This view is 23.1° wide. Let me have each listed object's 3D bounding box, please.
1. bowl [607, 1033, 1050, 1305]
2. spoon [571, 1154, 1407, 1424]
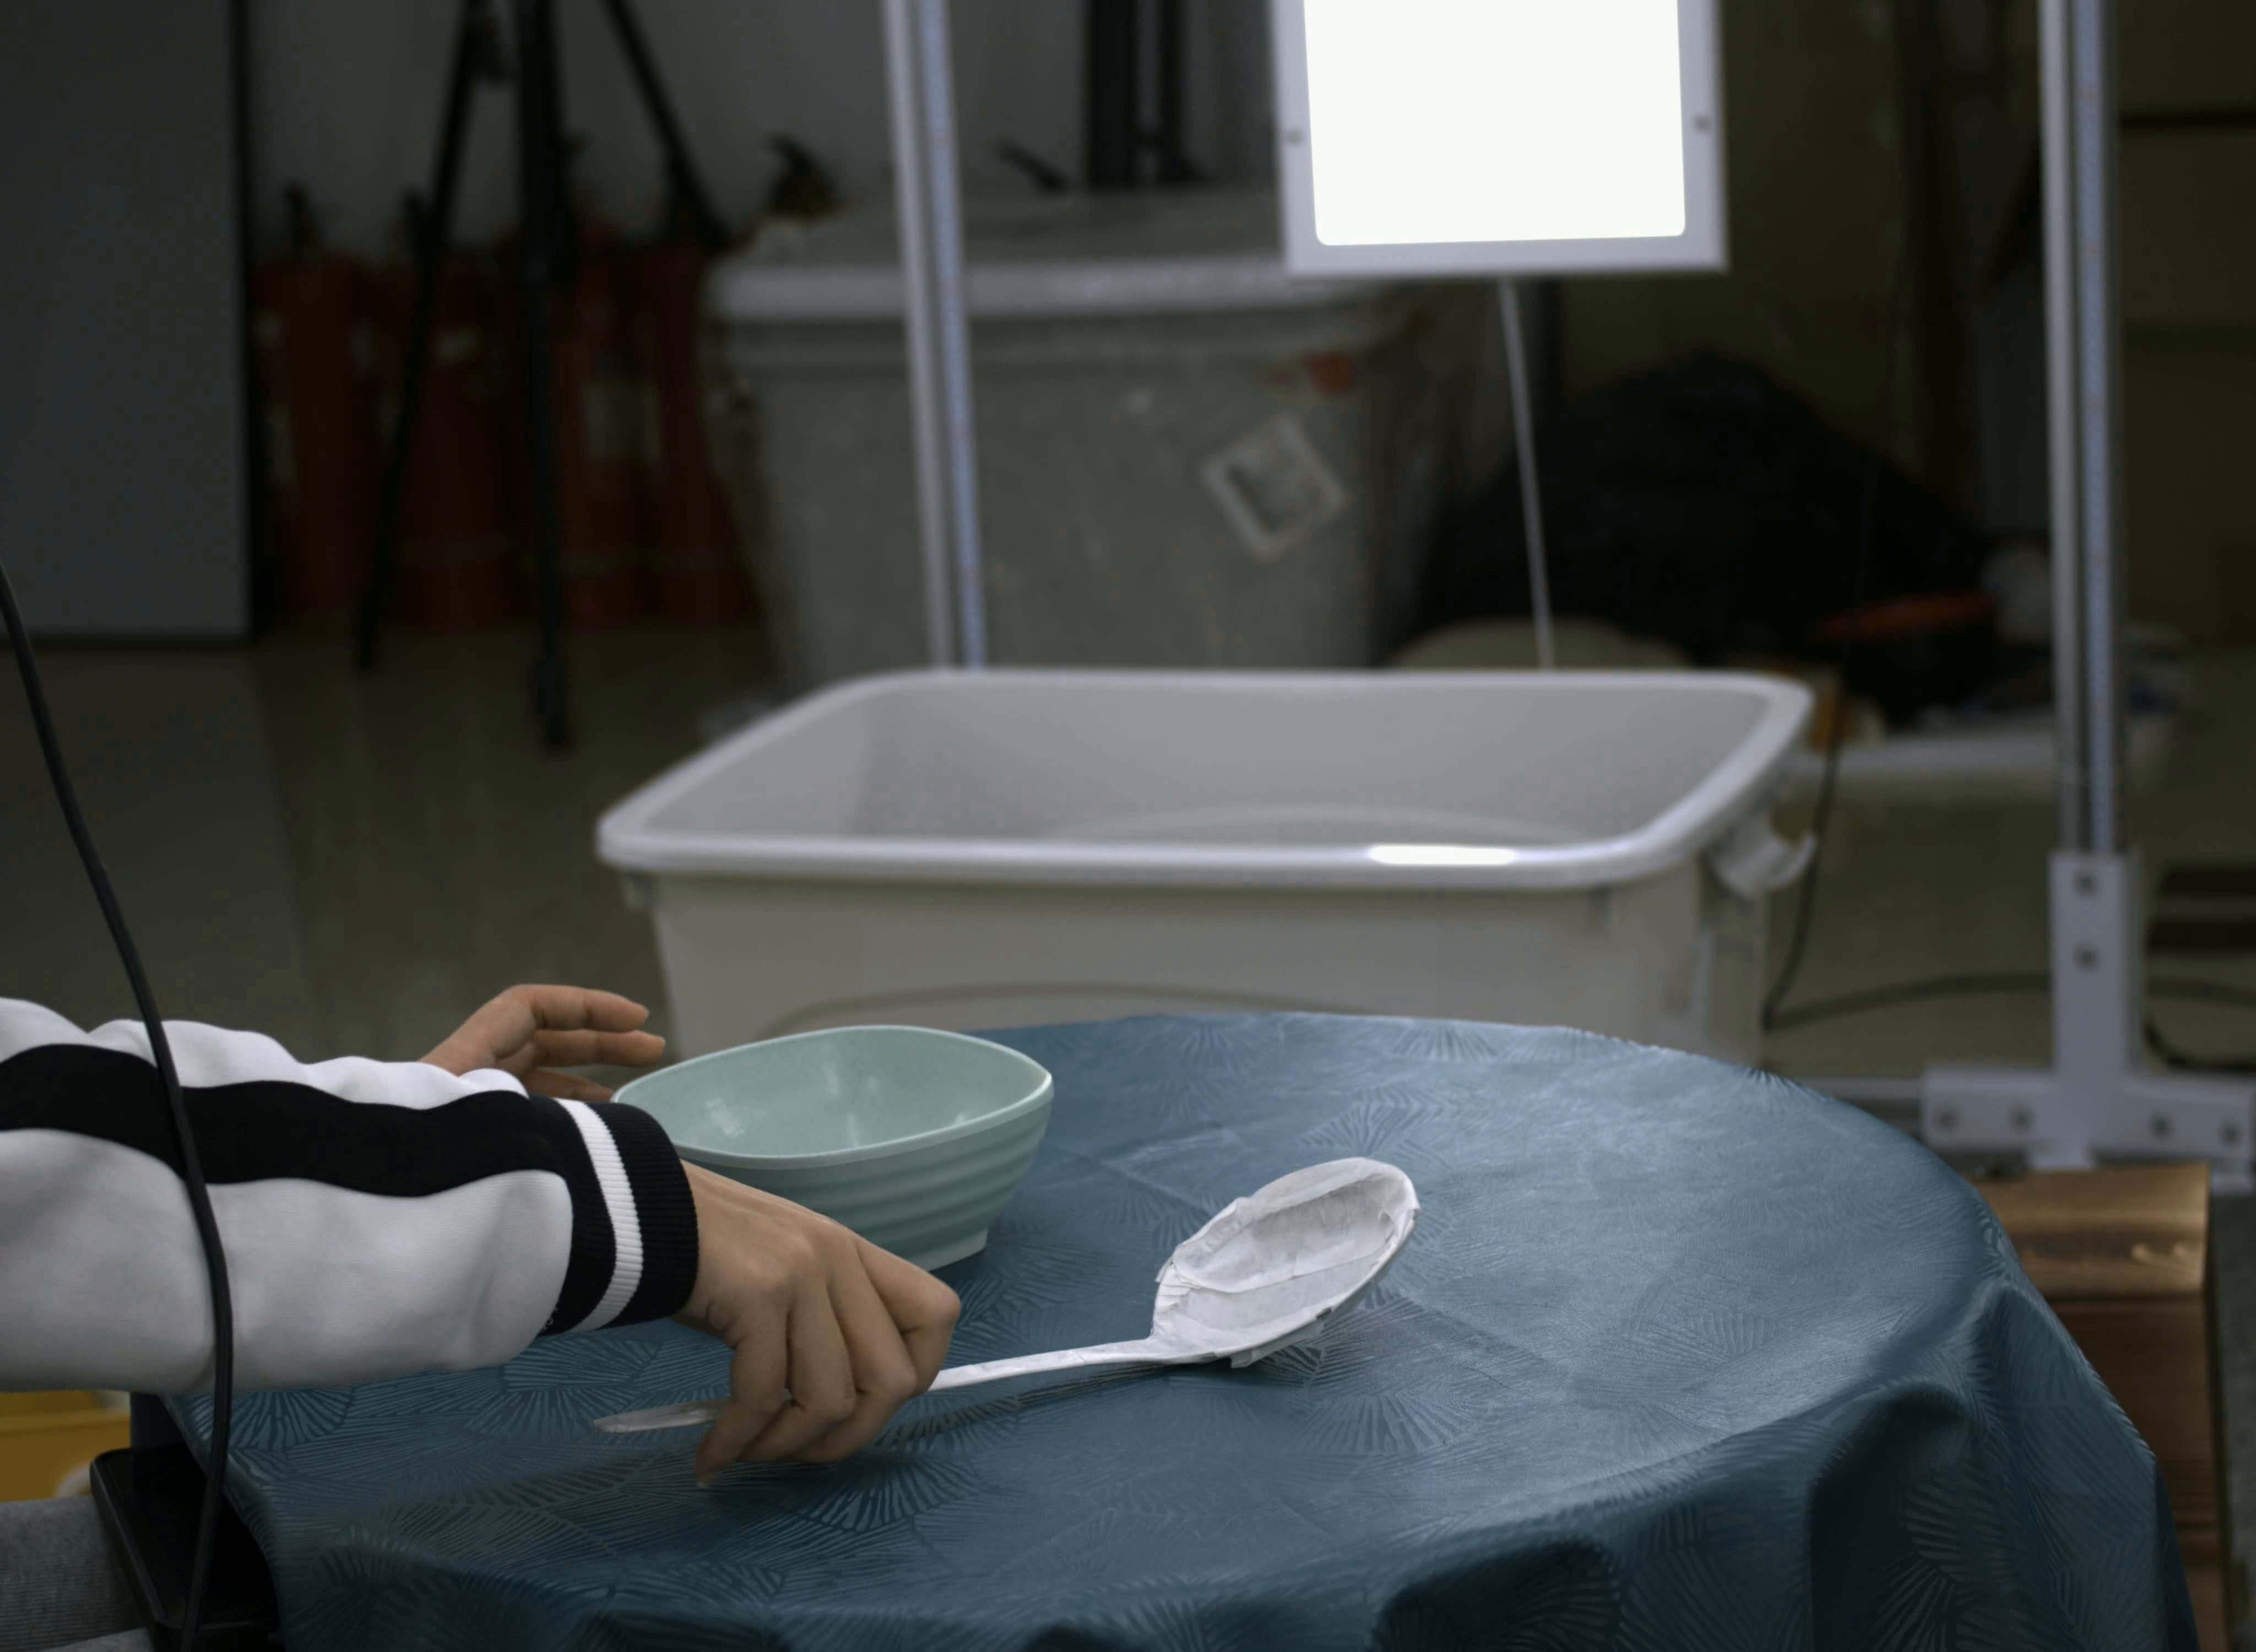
[{"bbox_3d":[-0.099,0.118,1.858,0.151,0.059,0.151,-5,14,0],"label":"bowl"},{"bbox_3d":[-0.043,0.141,1.700,0.272,0.059,0.102,-3,6,-23],"label":"spoon"}]
